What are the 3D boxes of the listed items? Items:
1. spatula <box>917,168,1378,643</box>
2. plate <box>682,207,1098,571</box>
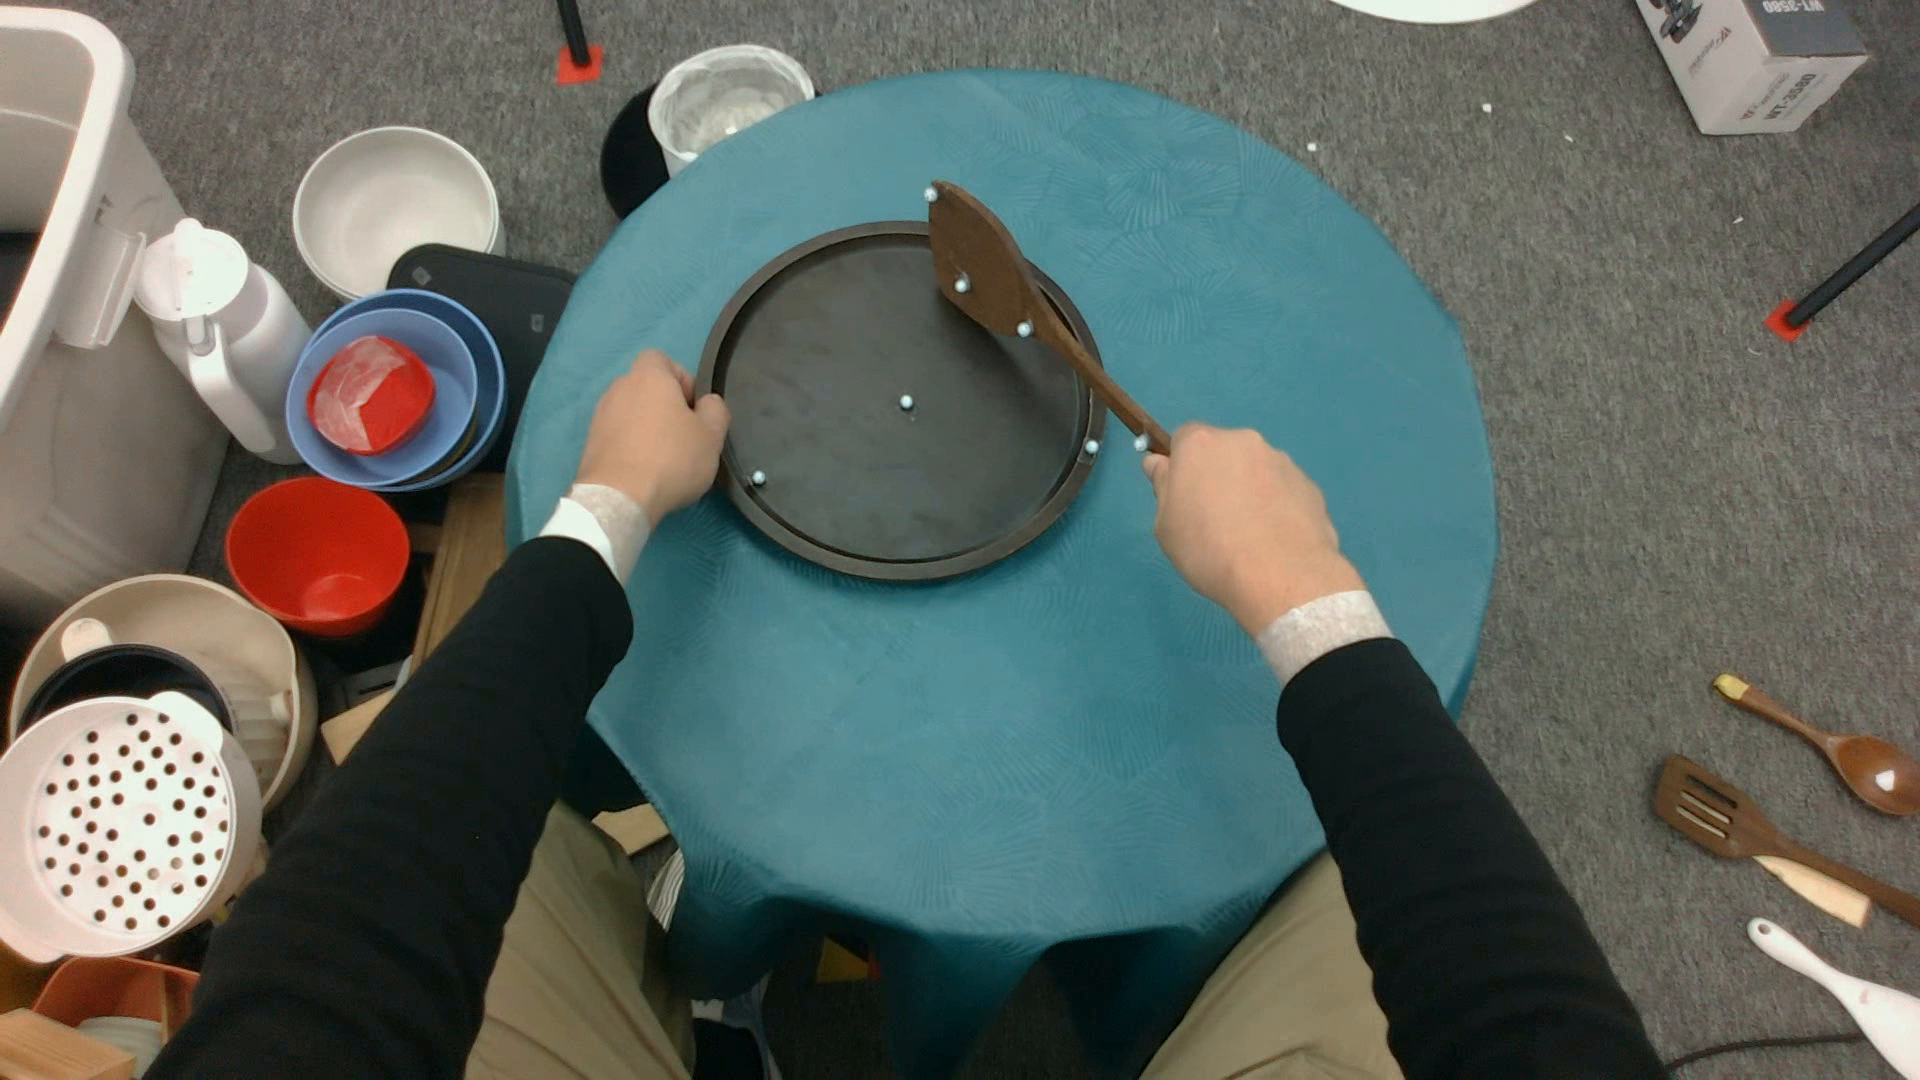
[{"bbox_3d":[0.086,-0.078,0.754,0.016,0.095,0.386,-30,58,-17],"label":"spatula"},{"bbox_3d":[-0.042,-0.097,0.846,0.255,0.029,0.255,2,66,-4],"label":"plate"}]
